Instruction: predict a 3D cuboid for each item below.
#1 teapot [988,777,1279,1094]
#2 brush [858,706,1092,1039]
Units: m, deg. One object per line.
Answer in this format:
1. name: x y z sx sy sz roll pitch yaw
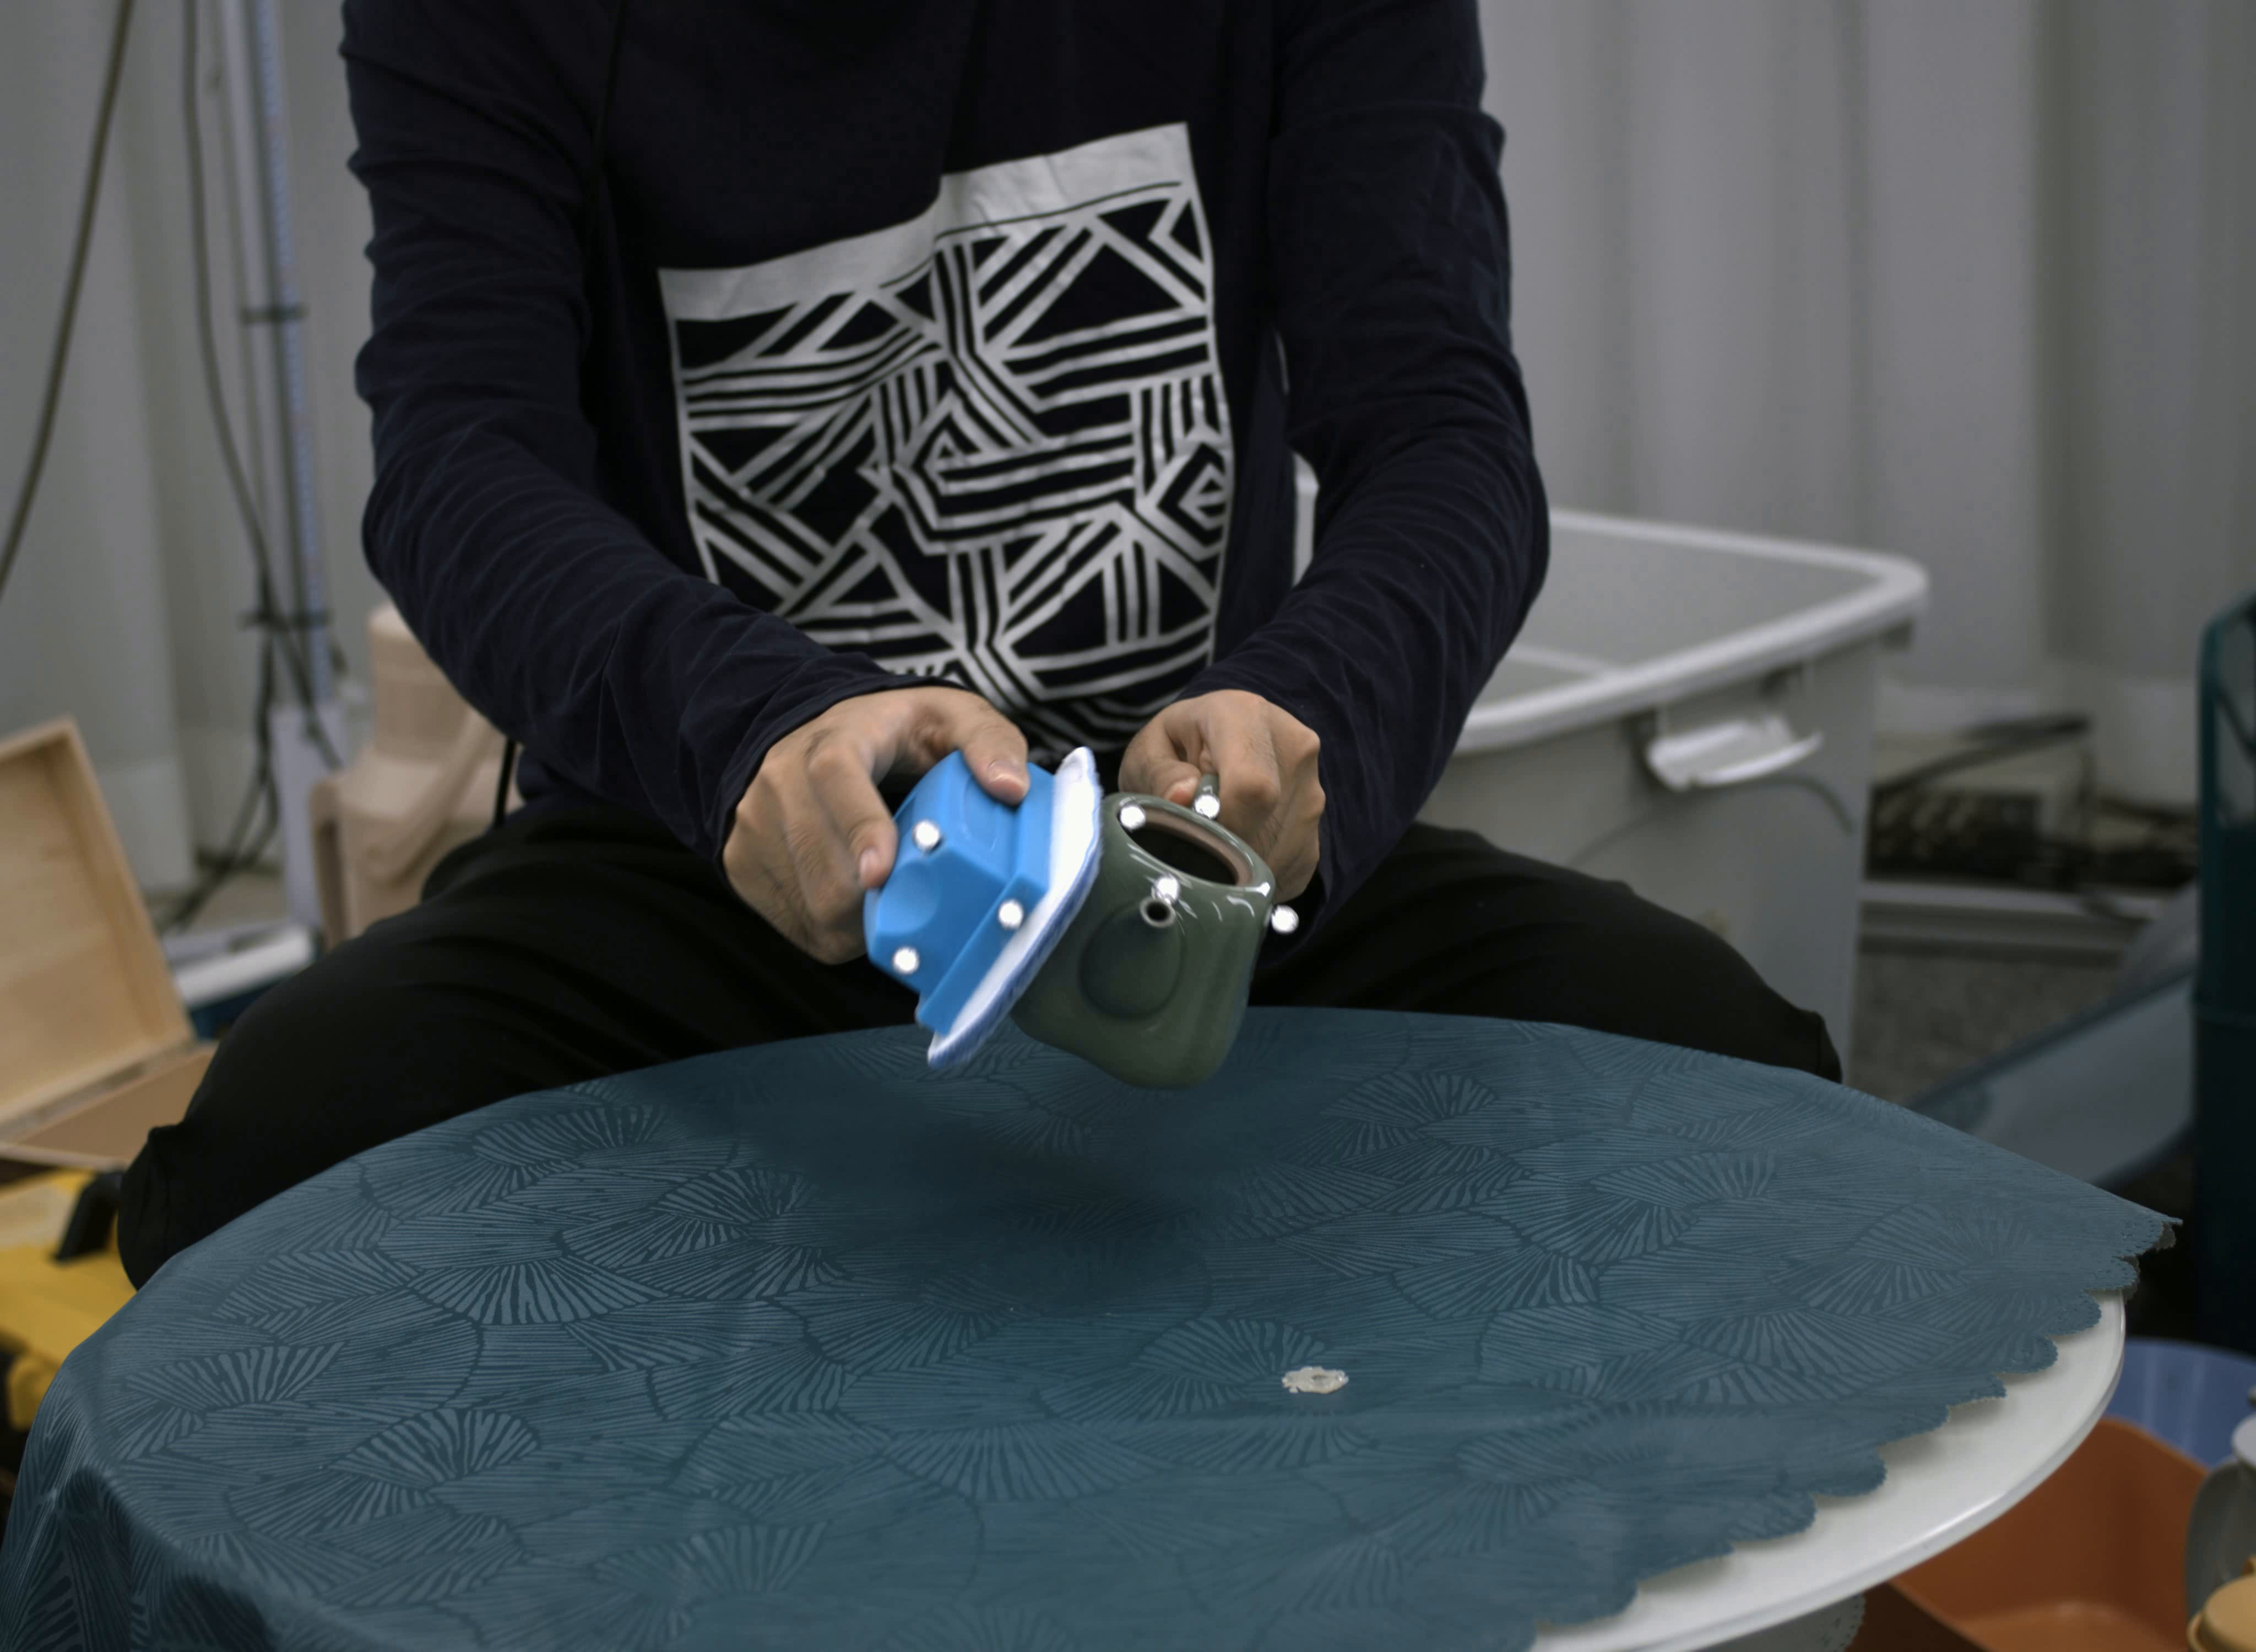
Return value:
1. teapot: 0.006 0.034 1.674 0.079 0.075 0.133 27 20 0
2. brush: -0.053 0.009 1.654 0.055 0.083 0.145 37 13 -12
